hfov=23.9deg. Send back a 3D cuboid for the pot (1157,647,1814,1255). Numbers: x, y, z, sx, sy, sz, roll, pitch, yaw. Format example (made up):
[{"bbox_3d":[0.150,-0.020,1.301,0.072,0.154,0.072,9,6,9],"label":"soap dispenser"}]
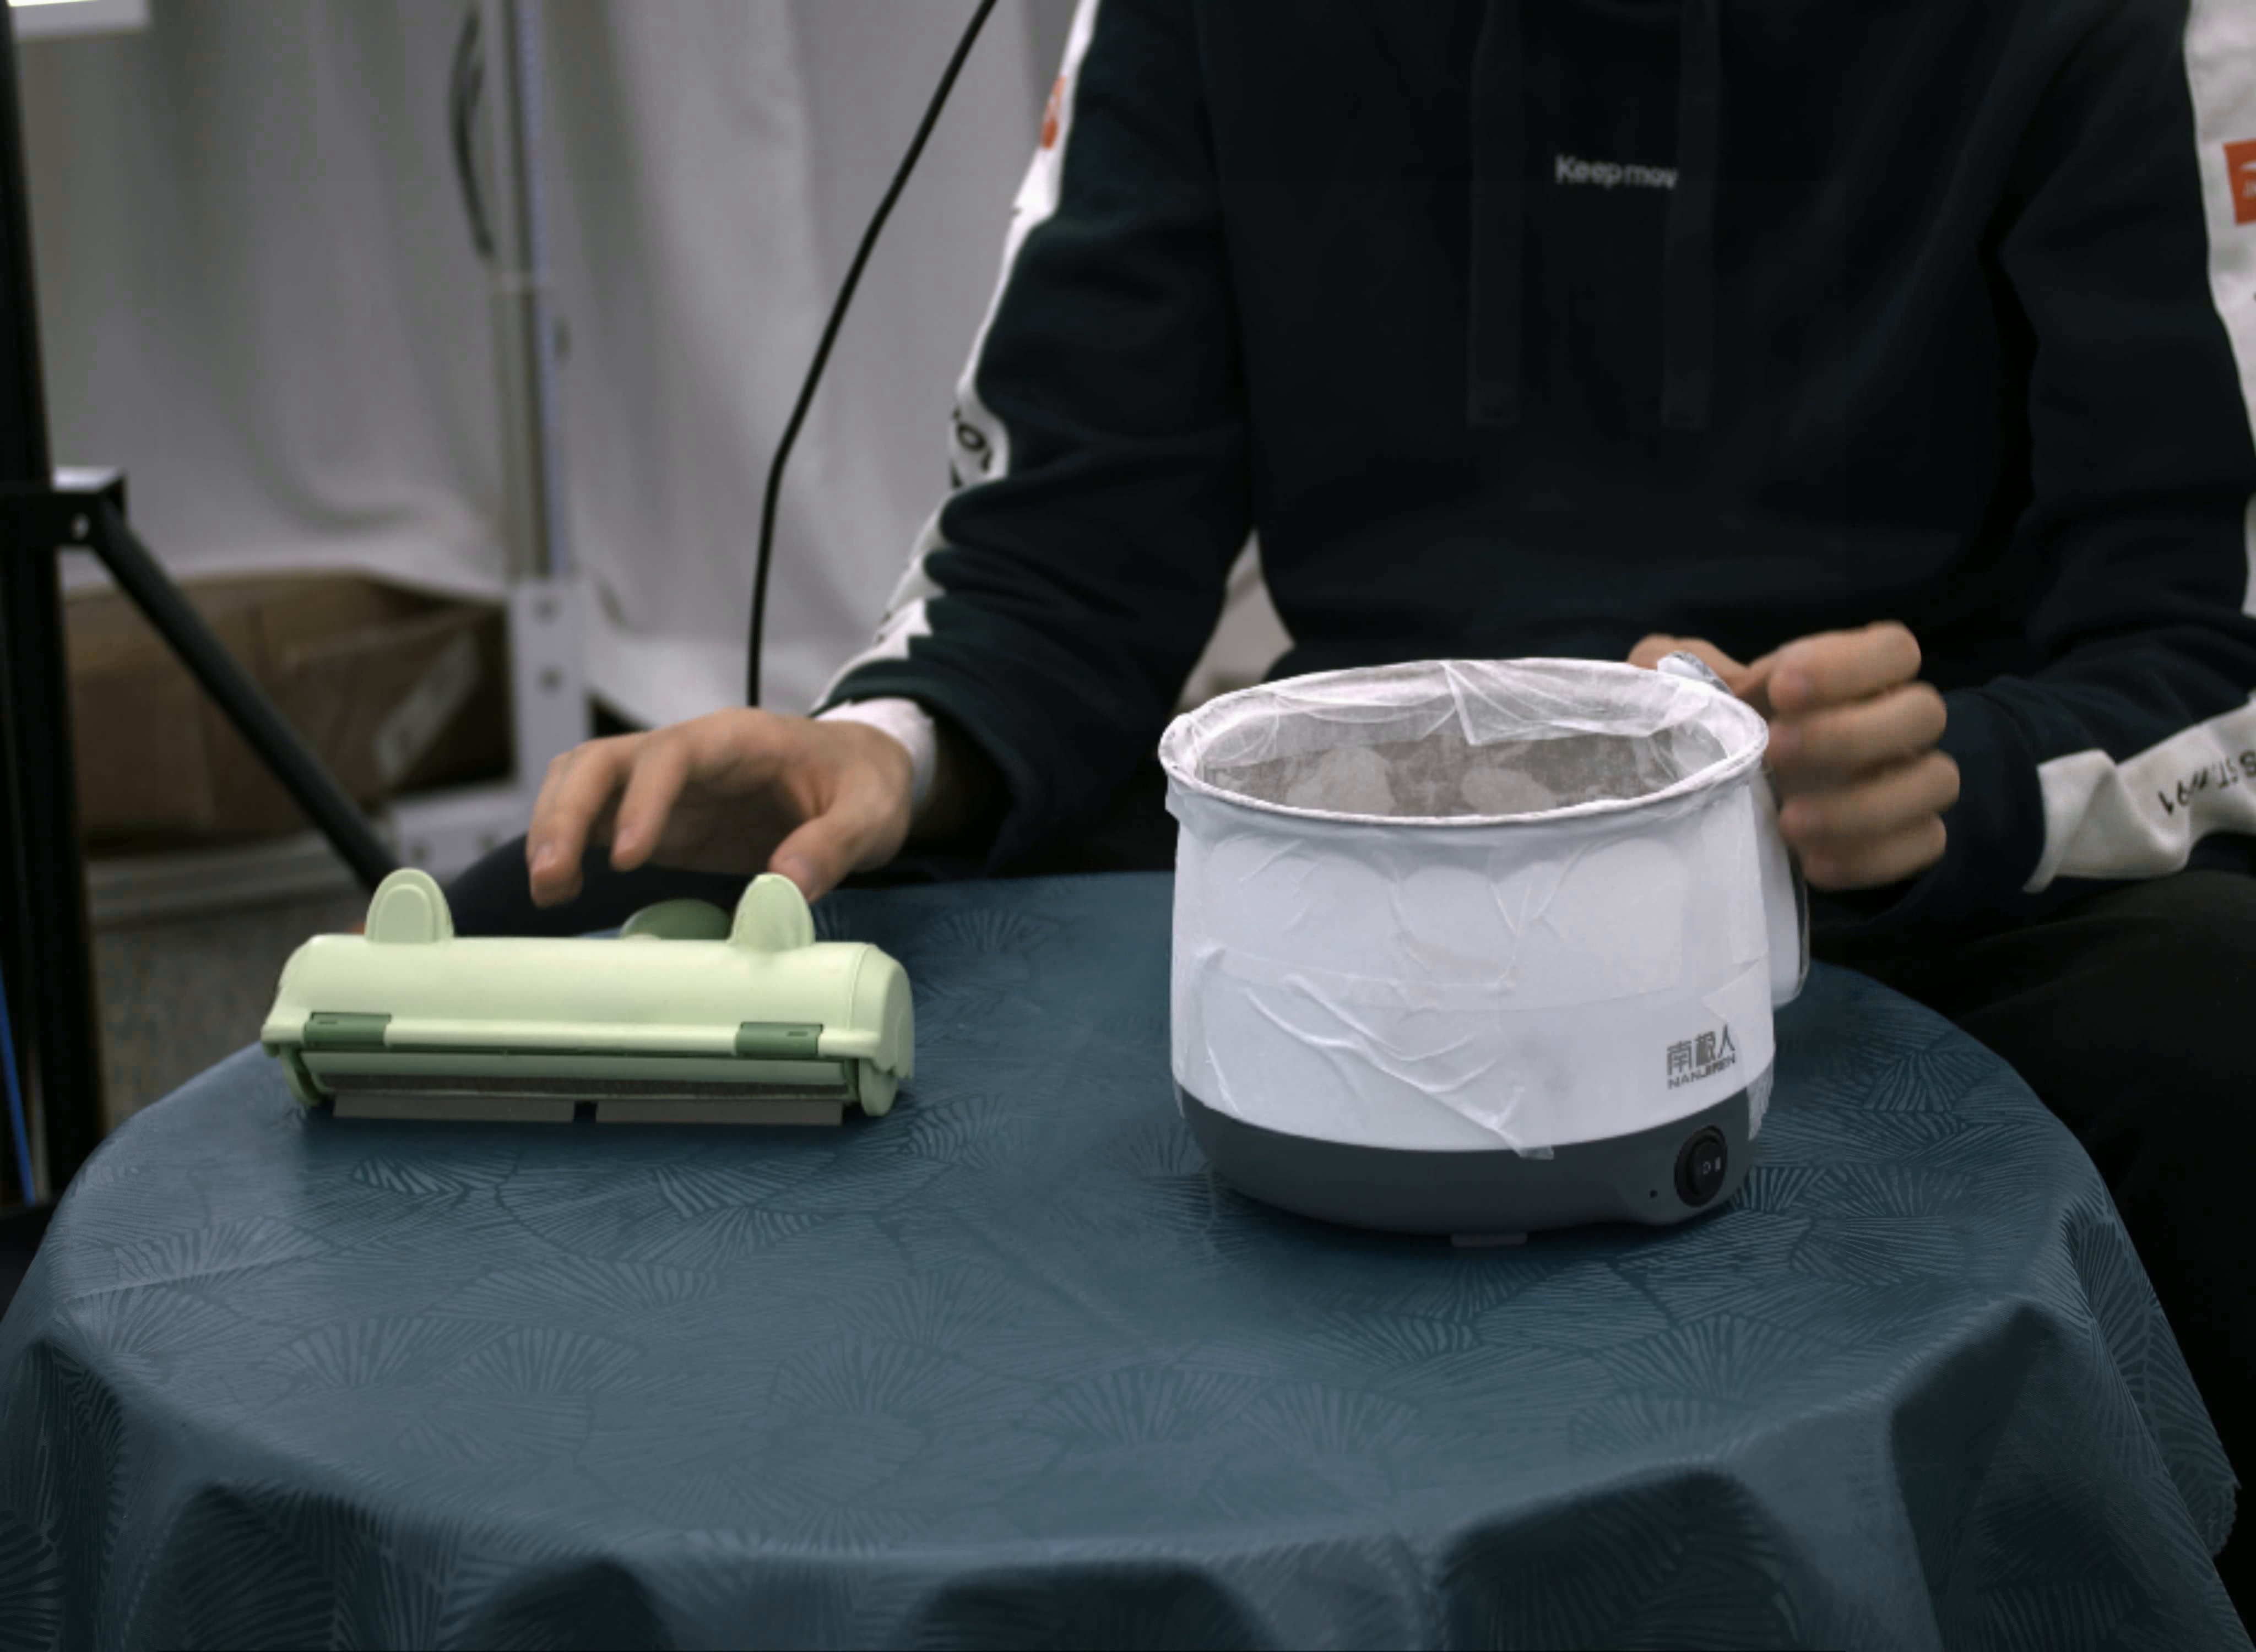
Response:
[{"bbox_3d":[0.118,0.029,1.563,0.228,0.136,0.183,-19,23,-42],"label":"pot"}]

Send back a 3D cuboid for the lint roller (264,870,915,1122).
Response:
[{"bbox_3d":[-0.157,0.036,1.701,0.199,0.082,0.183,0,21,12],"label":"lint roller"}]
